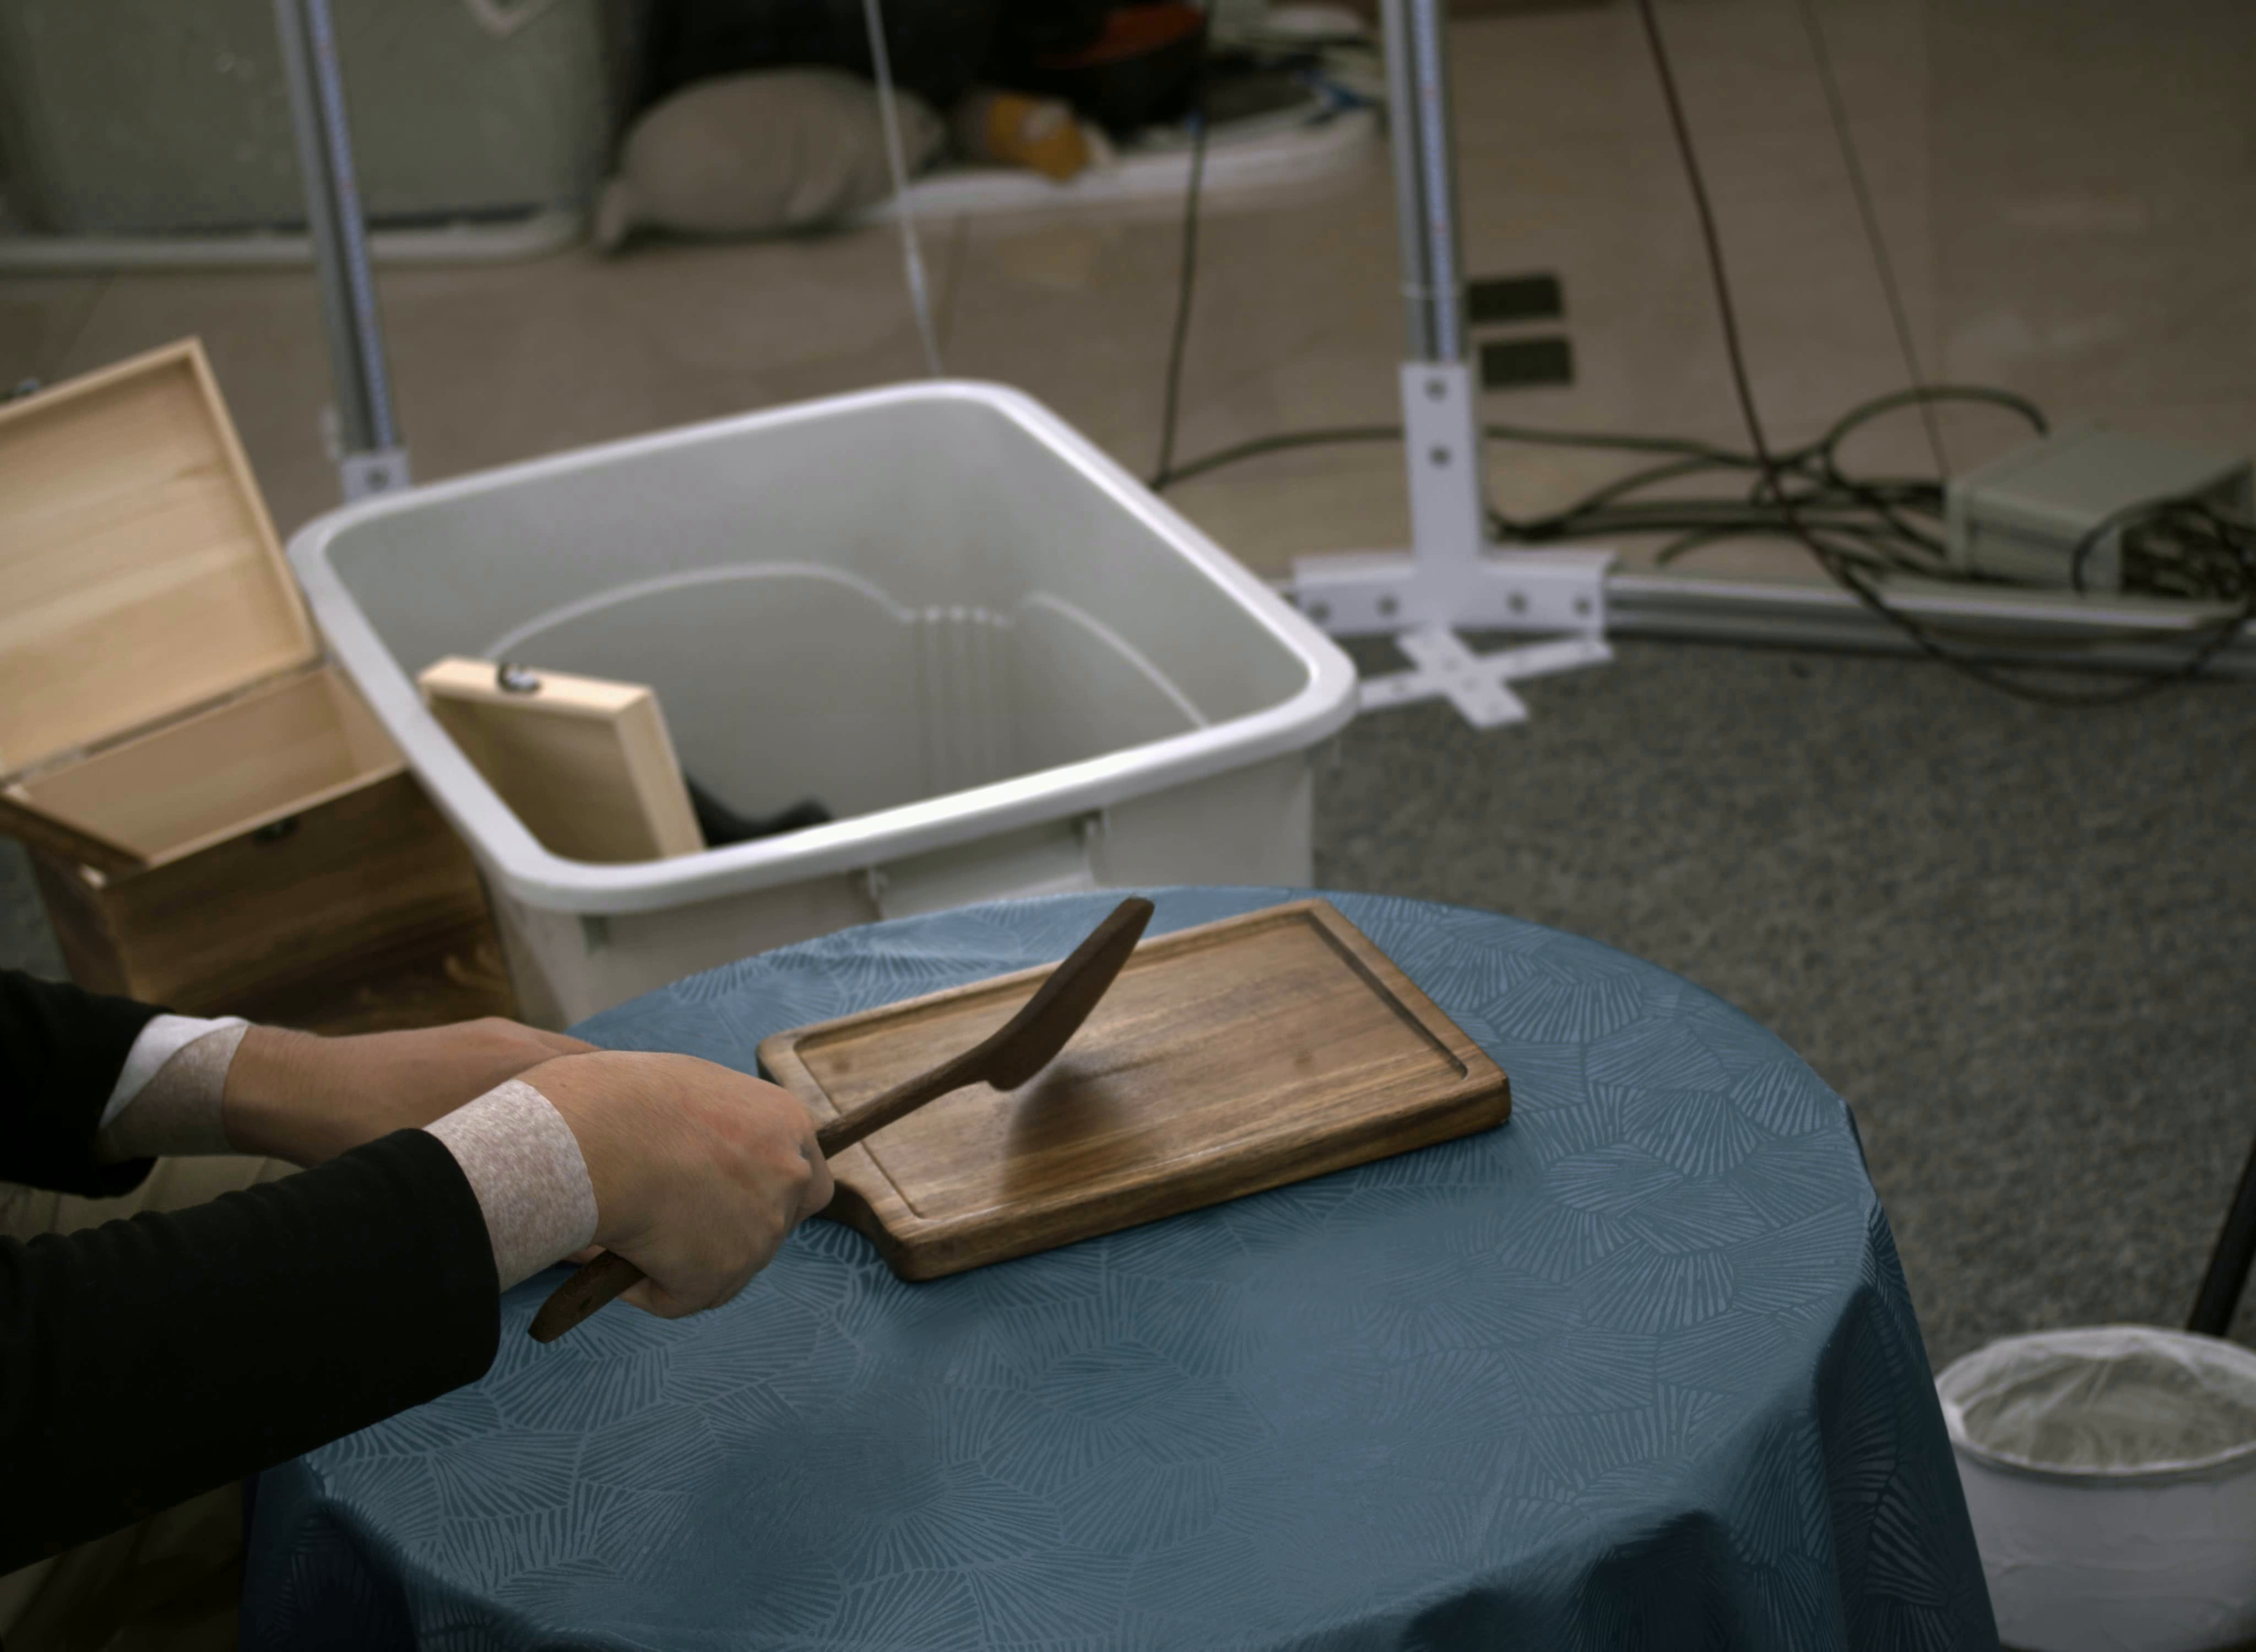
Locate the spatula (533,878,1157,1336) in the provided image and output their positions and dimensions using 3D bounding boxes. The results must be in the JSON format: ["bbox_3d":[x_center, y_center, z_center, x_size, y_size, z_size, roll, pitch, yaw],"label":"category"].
[{"bbox_3d":[-0.099,0.107,2.056,0.015,0.097,0.382,40,34,15],"label":"spatula"}]

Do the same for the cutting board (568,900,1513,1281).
[{"bbox_3d":[-0.048,0.110,2.197,0.351,0.023,0.198,-14,26,-16],"label":"cutting board"}]
